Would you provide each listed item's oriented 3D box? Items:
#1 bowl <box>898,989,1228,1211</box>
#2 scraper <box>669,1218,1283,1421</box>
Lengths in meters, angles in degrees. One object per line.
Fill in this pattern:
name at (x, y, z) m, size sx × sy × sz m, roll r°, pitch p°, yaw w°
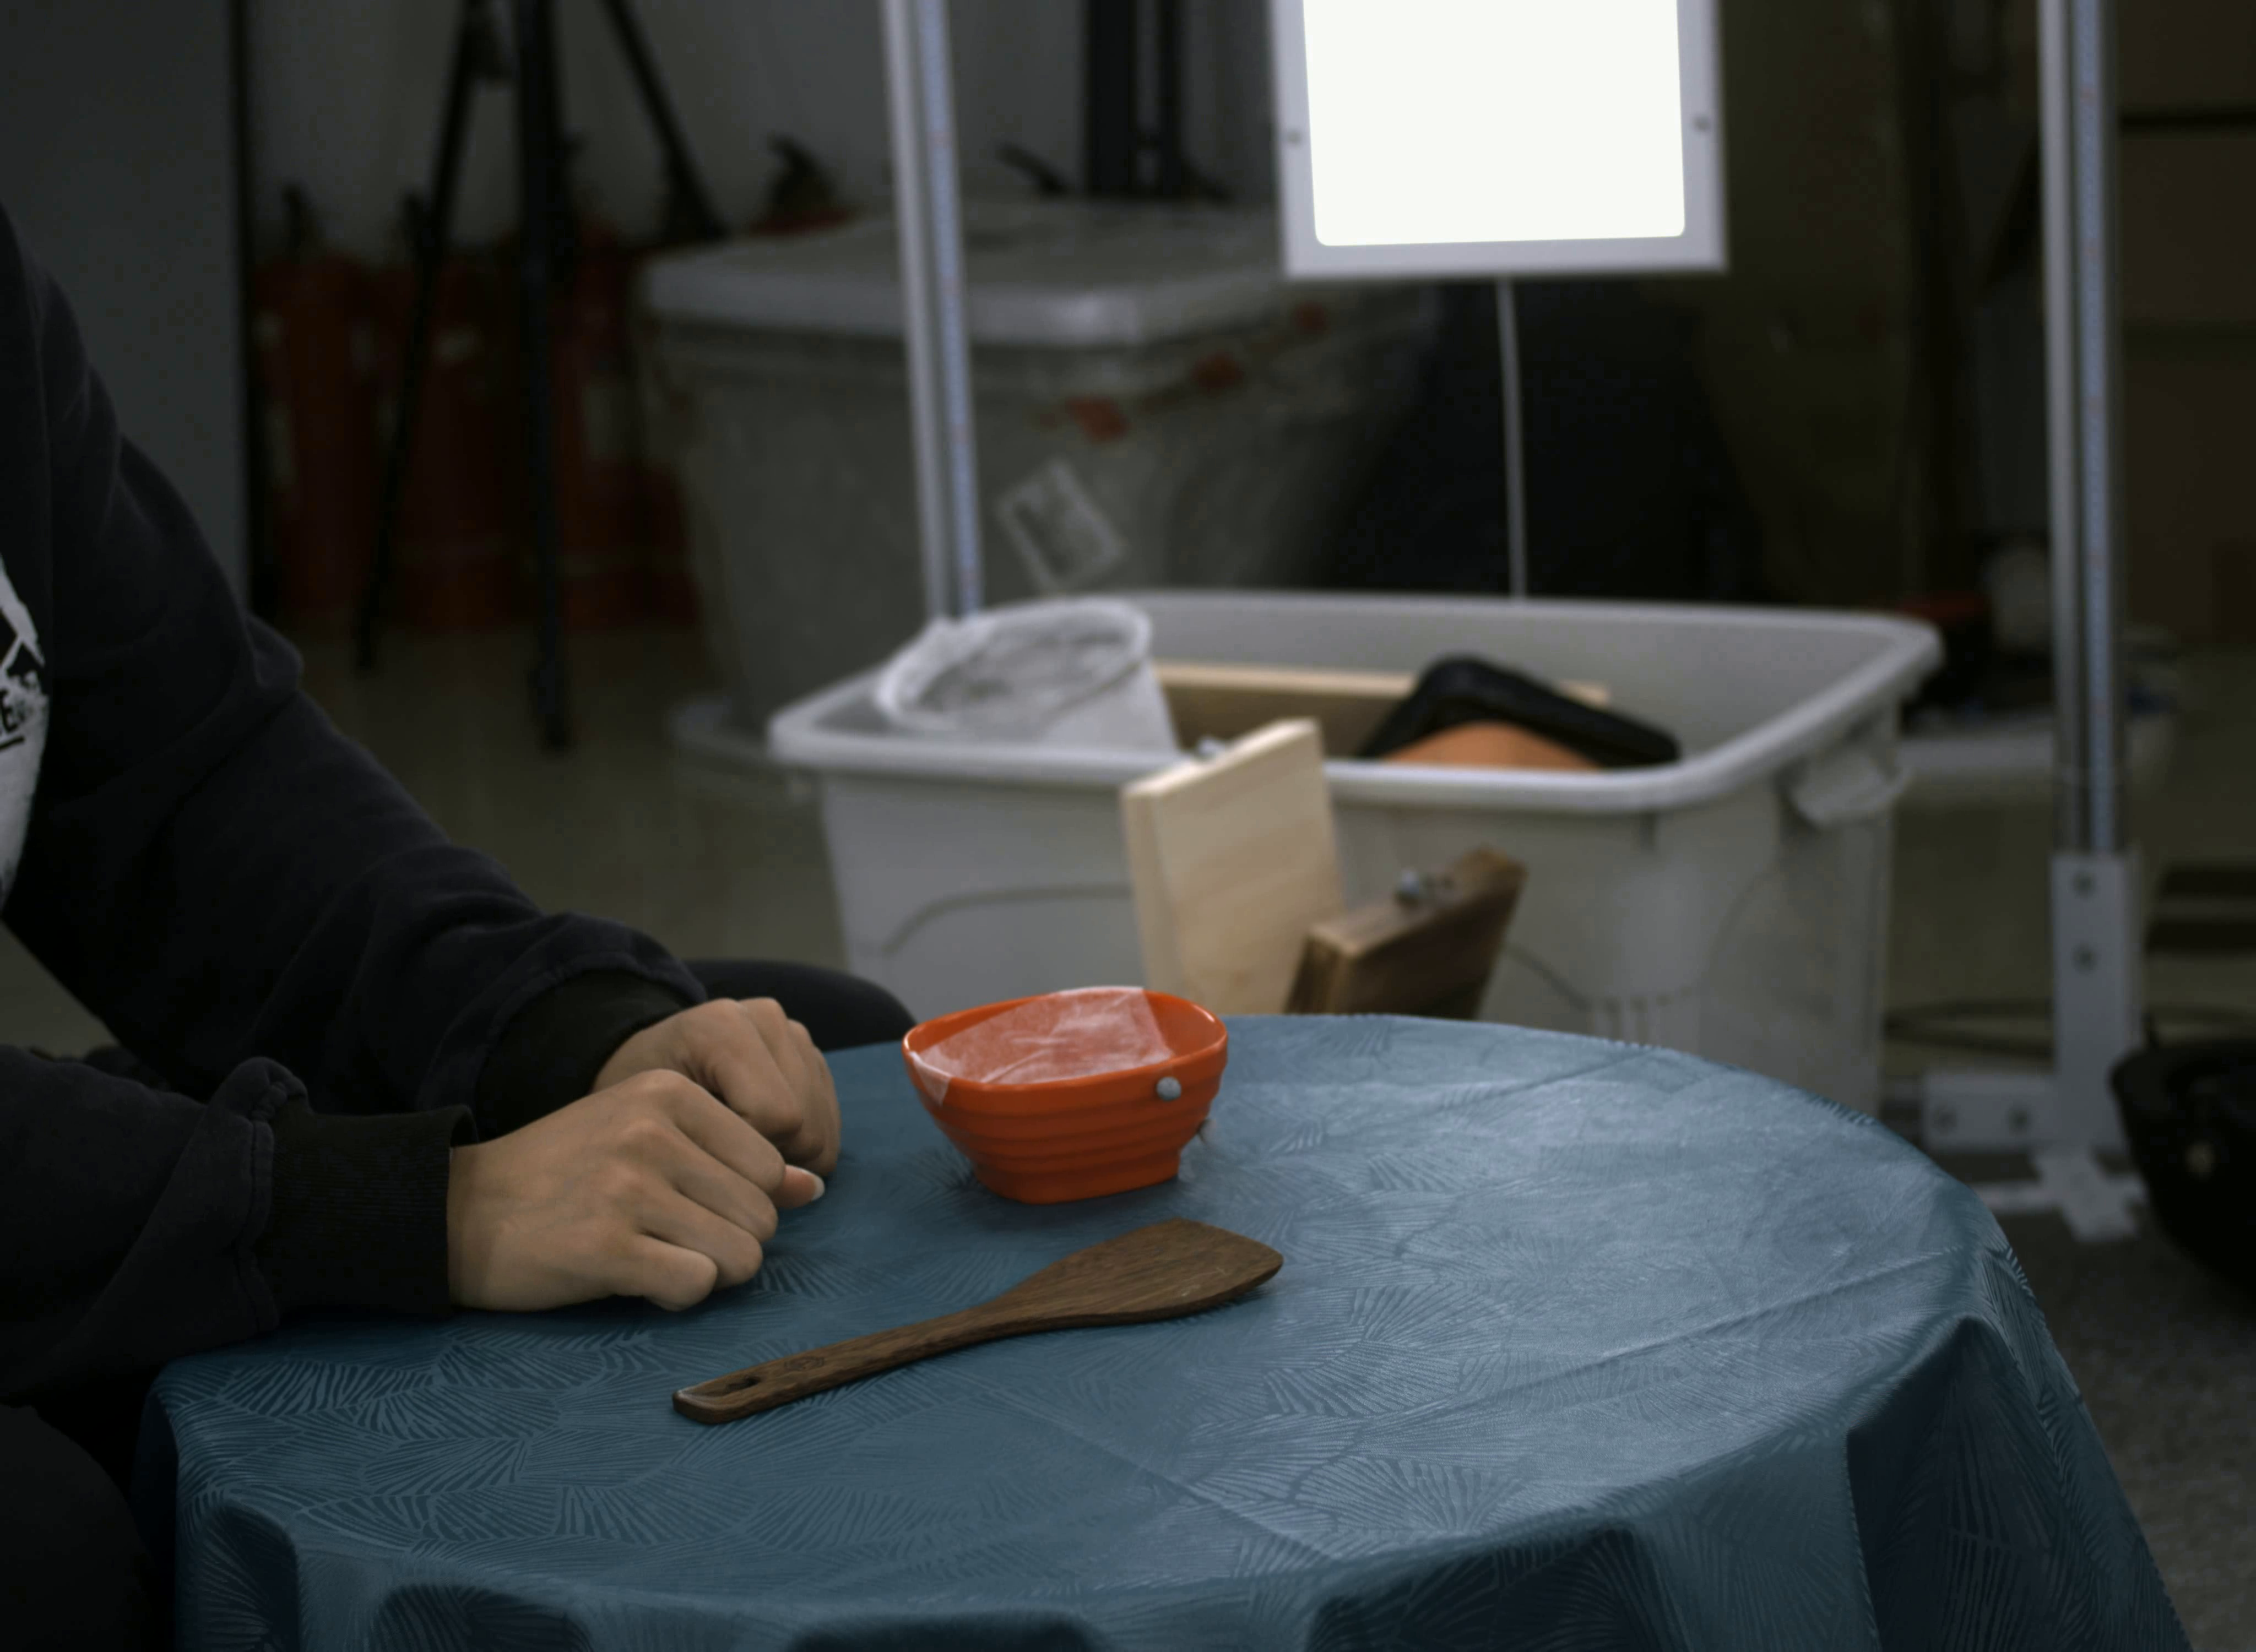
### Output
bowl at (-0.021, 0.098, 1.922) m, size 0.118 × 0.051 × 0.119 m, roll -5°, pitch 15°, yaw 0°
scraper at (-0.051, 0.160, 1.763) m, size 0.206 × 0.011 × 0.077 m, roll -14°, pitch 15°, yaw -29°
